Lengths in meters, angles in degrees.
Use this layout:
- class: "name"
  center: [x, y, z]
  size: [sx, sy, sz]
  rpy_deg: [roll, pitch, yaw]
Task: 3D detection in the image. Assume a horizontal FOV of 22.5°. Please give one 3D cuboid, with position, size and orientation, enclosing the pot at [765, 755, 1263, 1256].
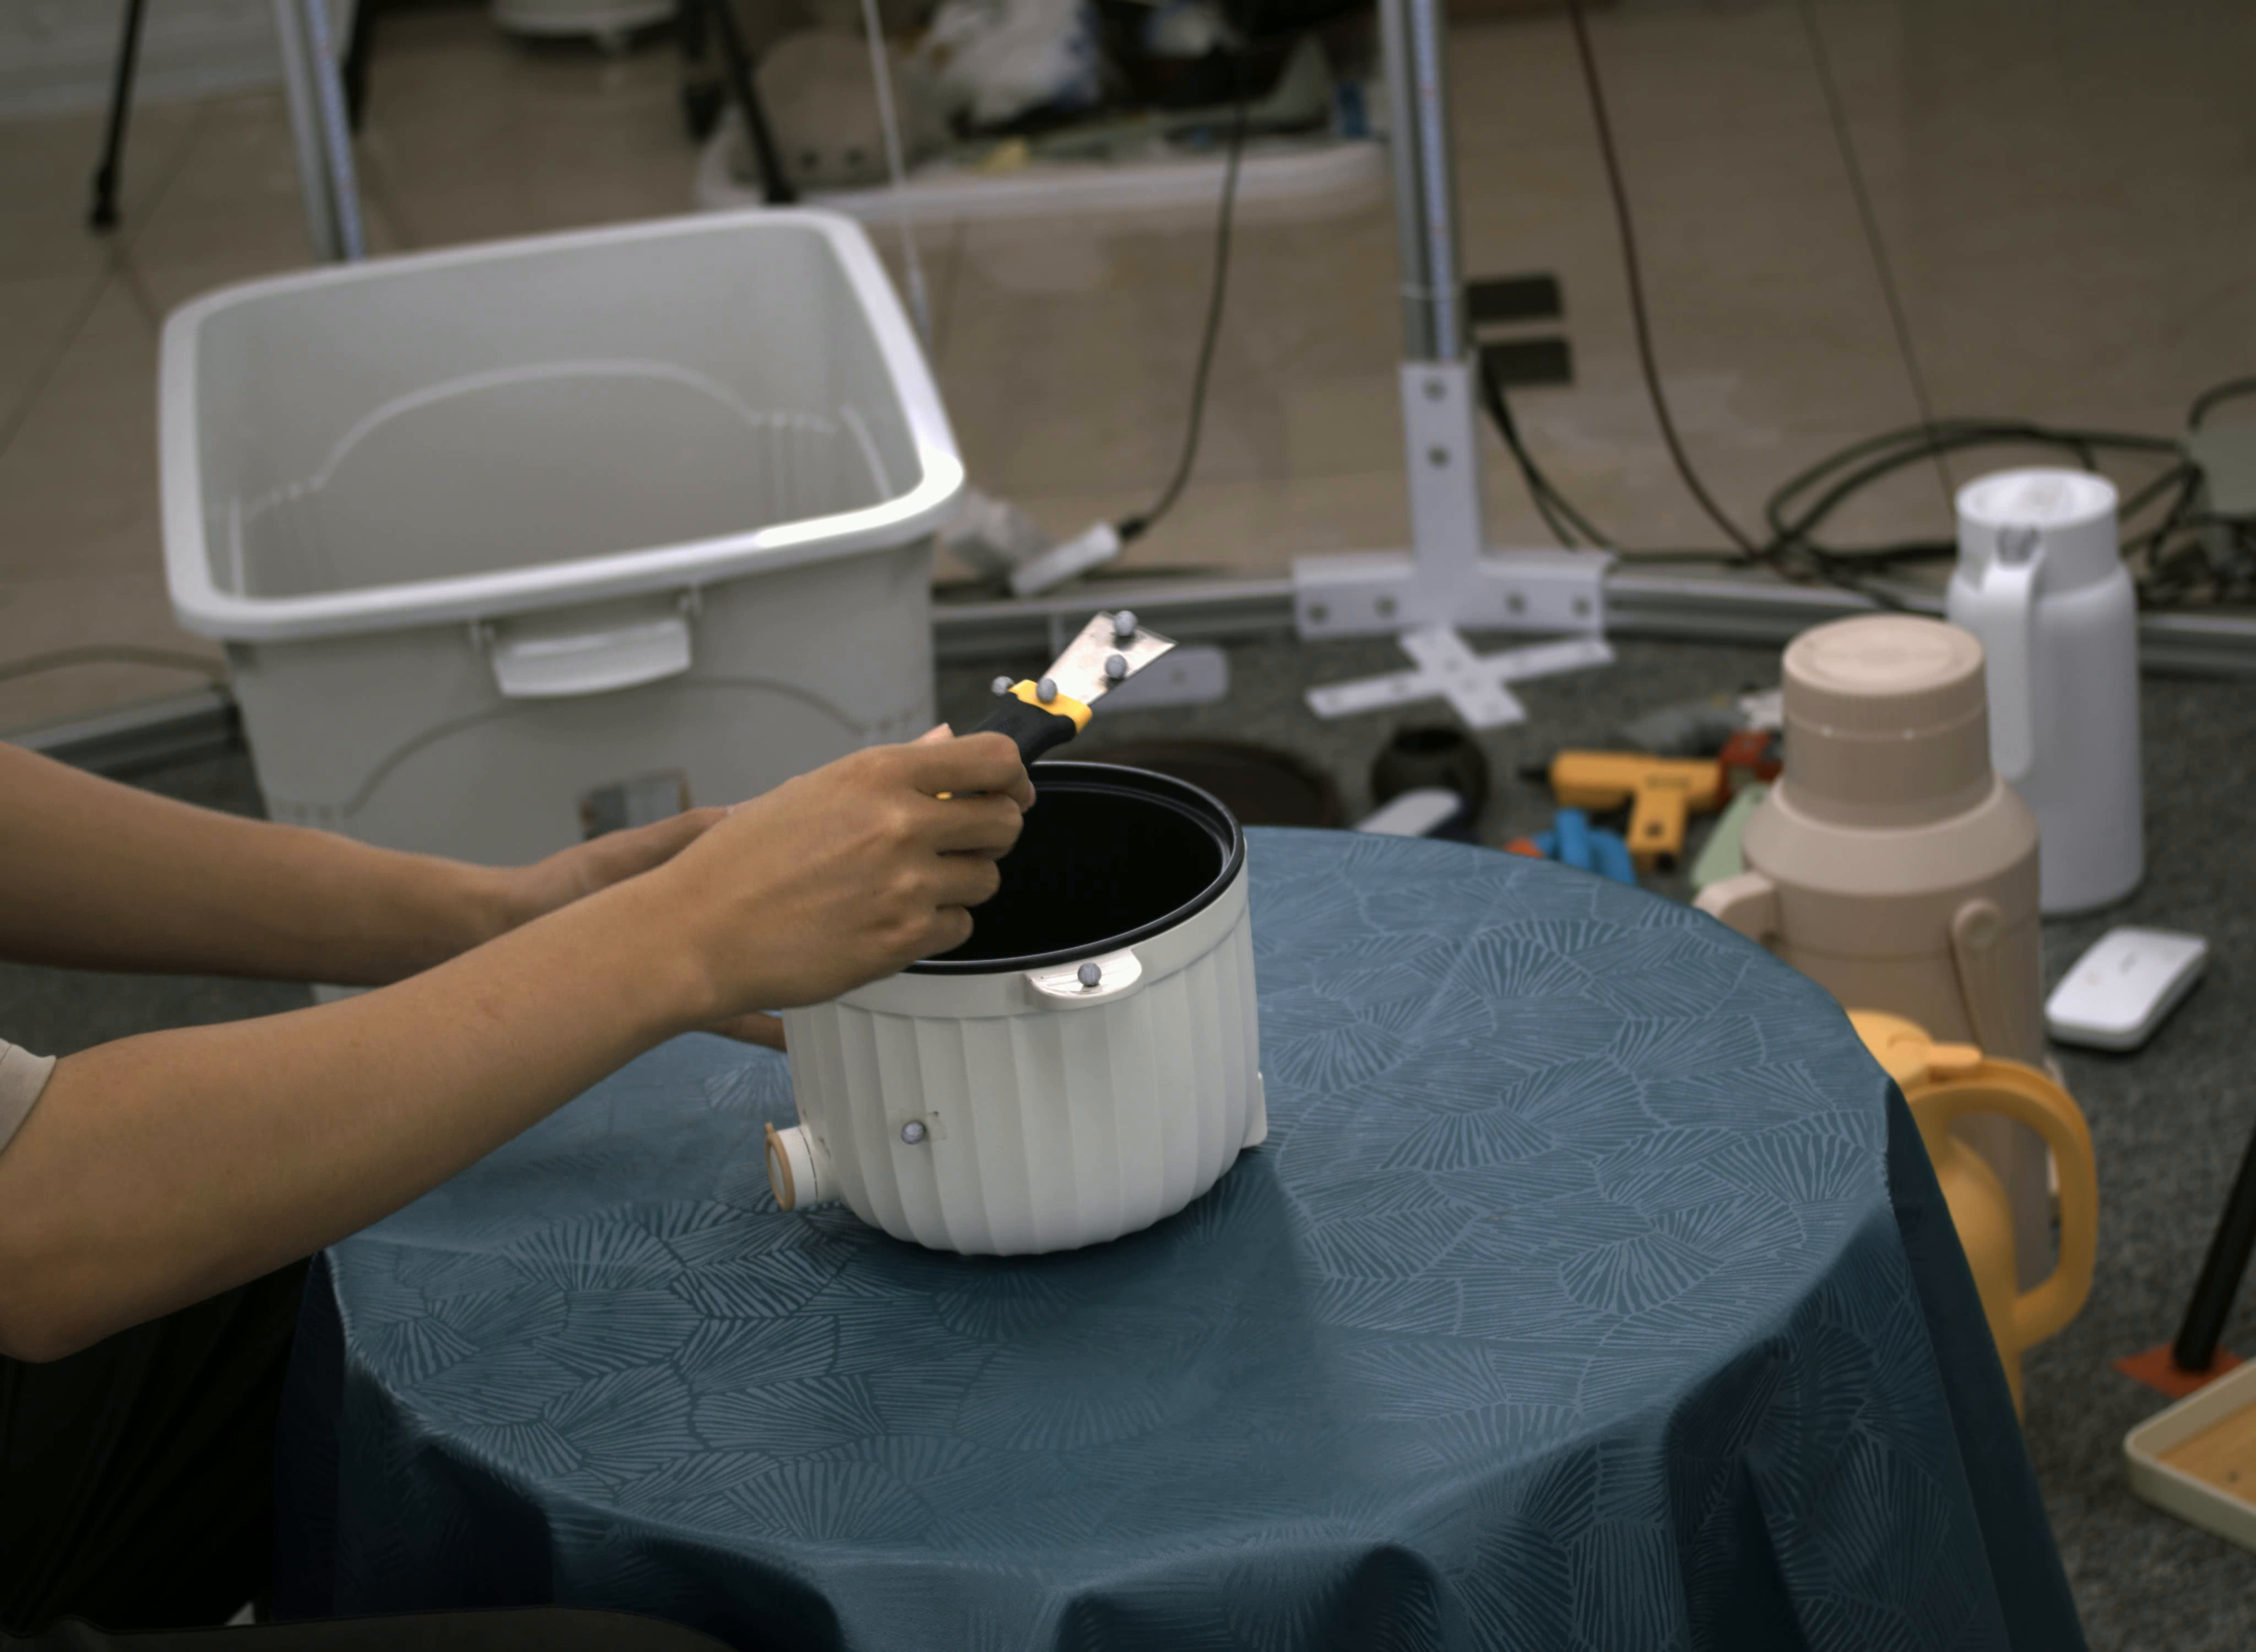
- class: "pot"
  center: [-0.045, 0.075, 2.134]
  size: [0.190, 0.145, 0.237]
  rpy_deg: [-10, 24, -17]

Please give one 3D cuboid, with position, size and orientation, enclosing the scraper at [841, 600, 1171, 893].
- class: "scraper"
  center: [-0.045, -0.028, 1.992]
  size: [0.038, 0.015, 0.169]
  rpy_deg: [25, 47, 23]
